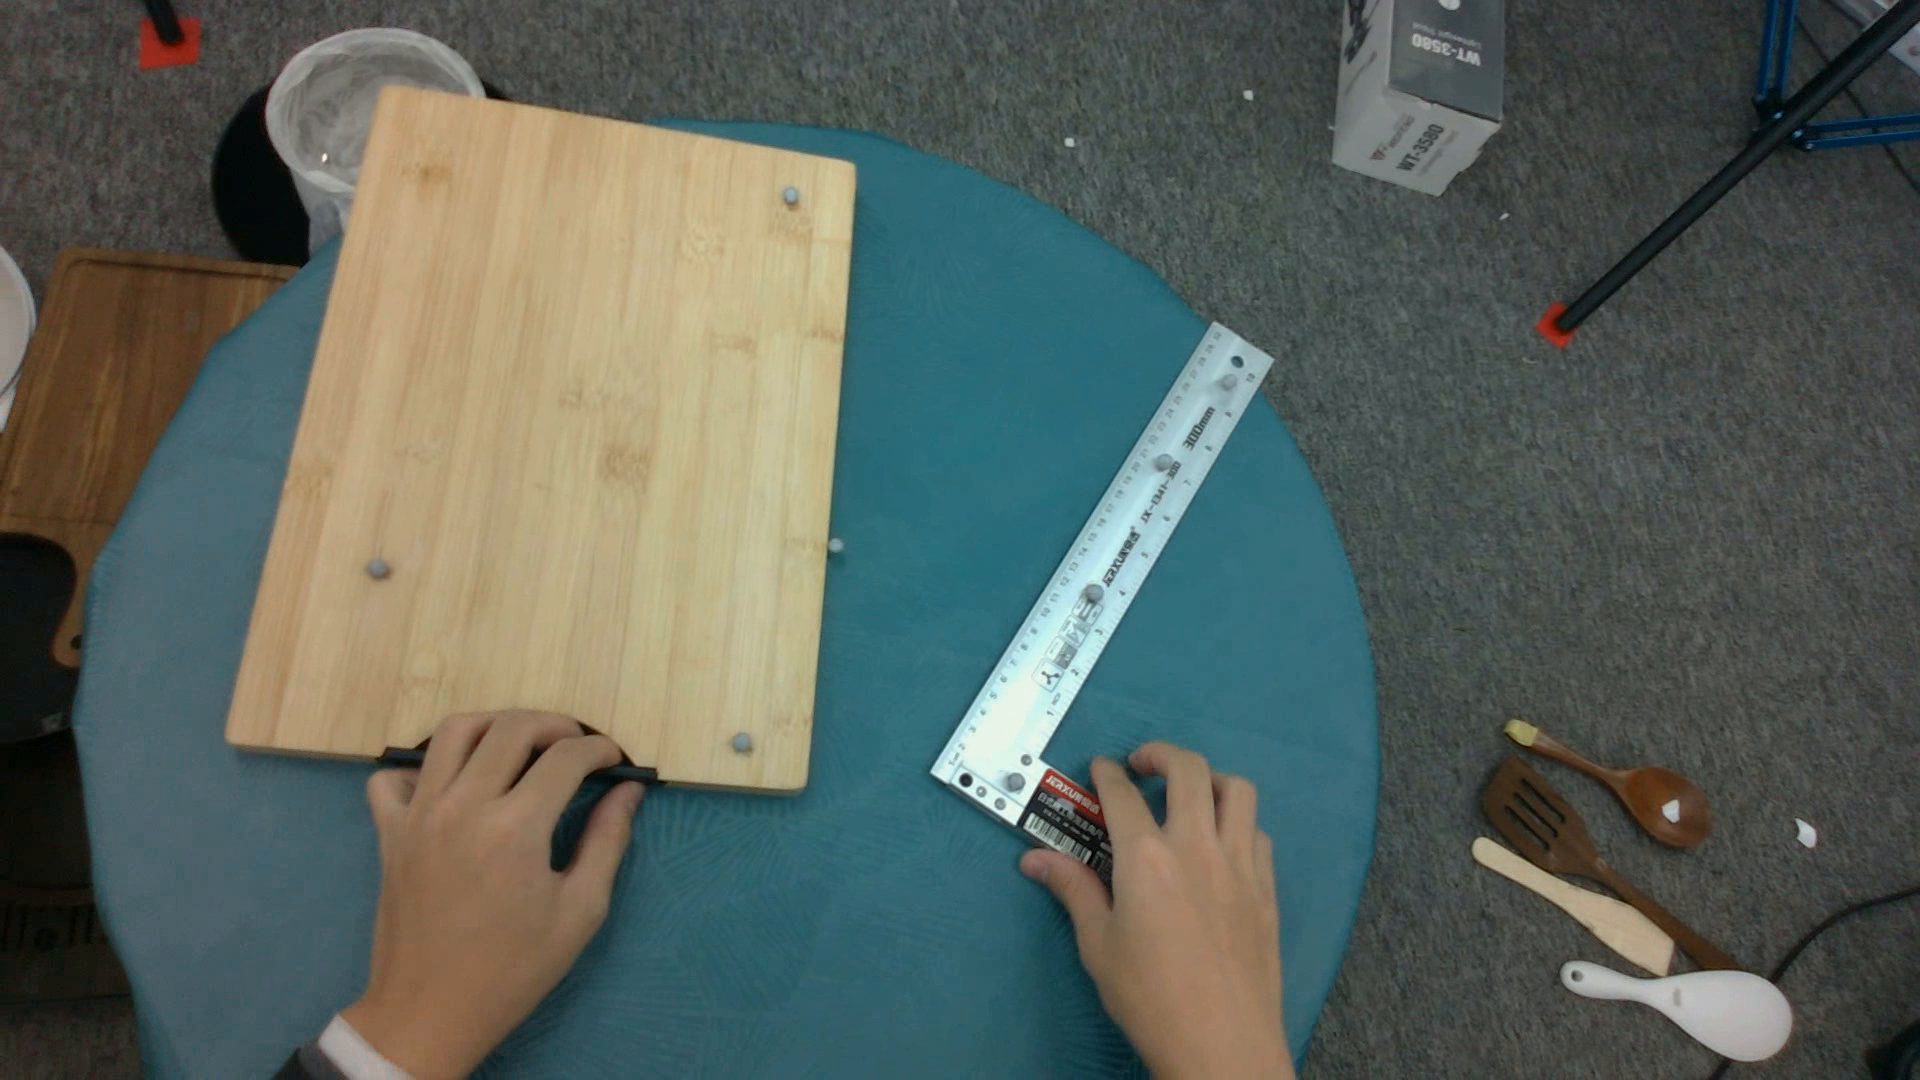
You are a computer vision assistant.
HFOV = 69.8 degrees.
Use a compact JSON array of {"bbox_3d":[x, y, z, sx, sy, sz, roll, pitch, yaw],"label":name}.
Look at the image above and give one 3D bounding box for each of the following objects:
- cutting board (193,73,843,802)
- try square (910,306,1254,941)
[{"bbox_3d":[-0.190,-0.057,0.656,0.251,0.023,0.350,6,68,-11],"label":"cutting board"},{"bbox_3d":[0.116,0.027,0.700,0.152,0.016,0.314,33,64,1],"label":"try square"}]
